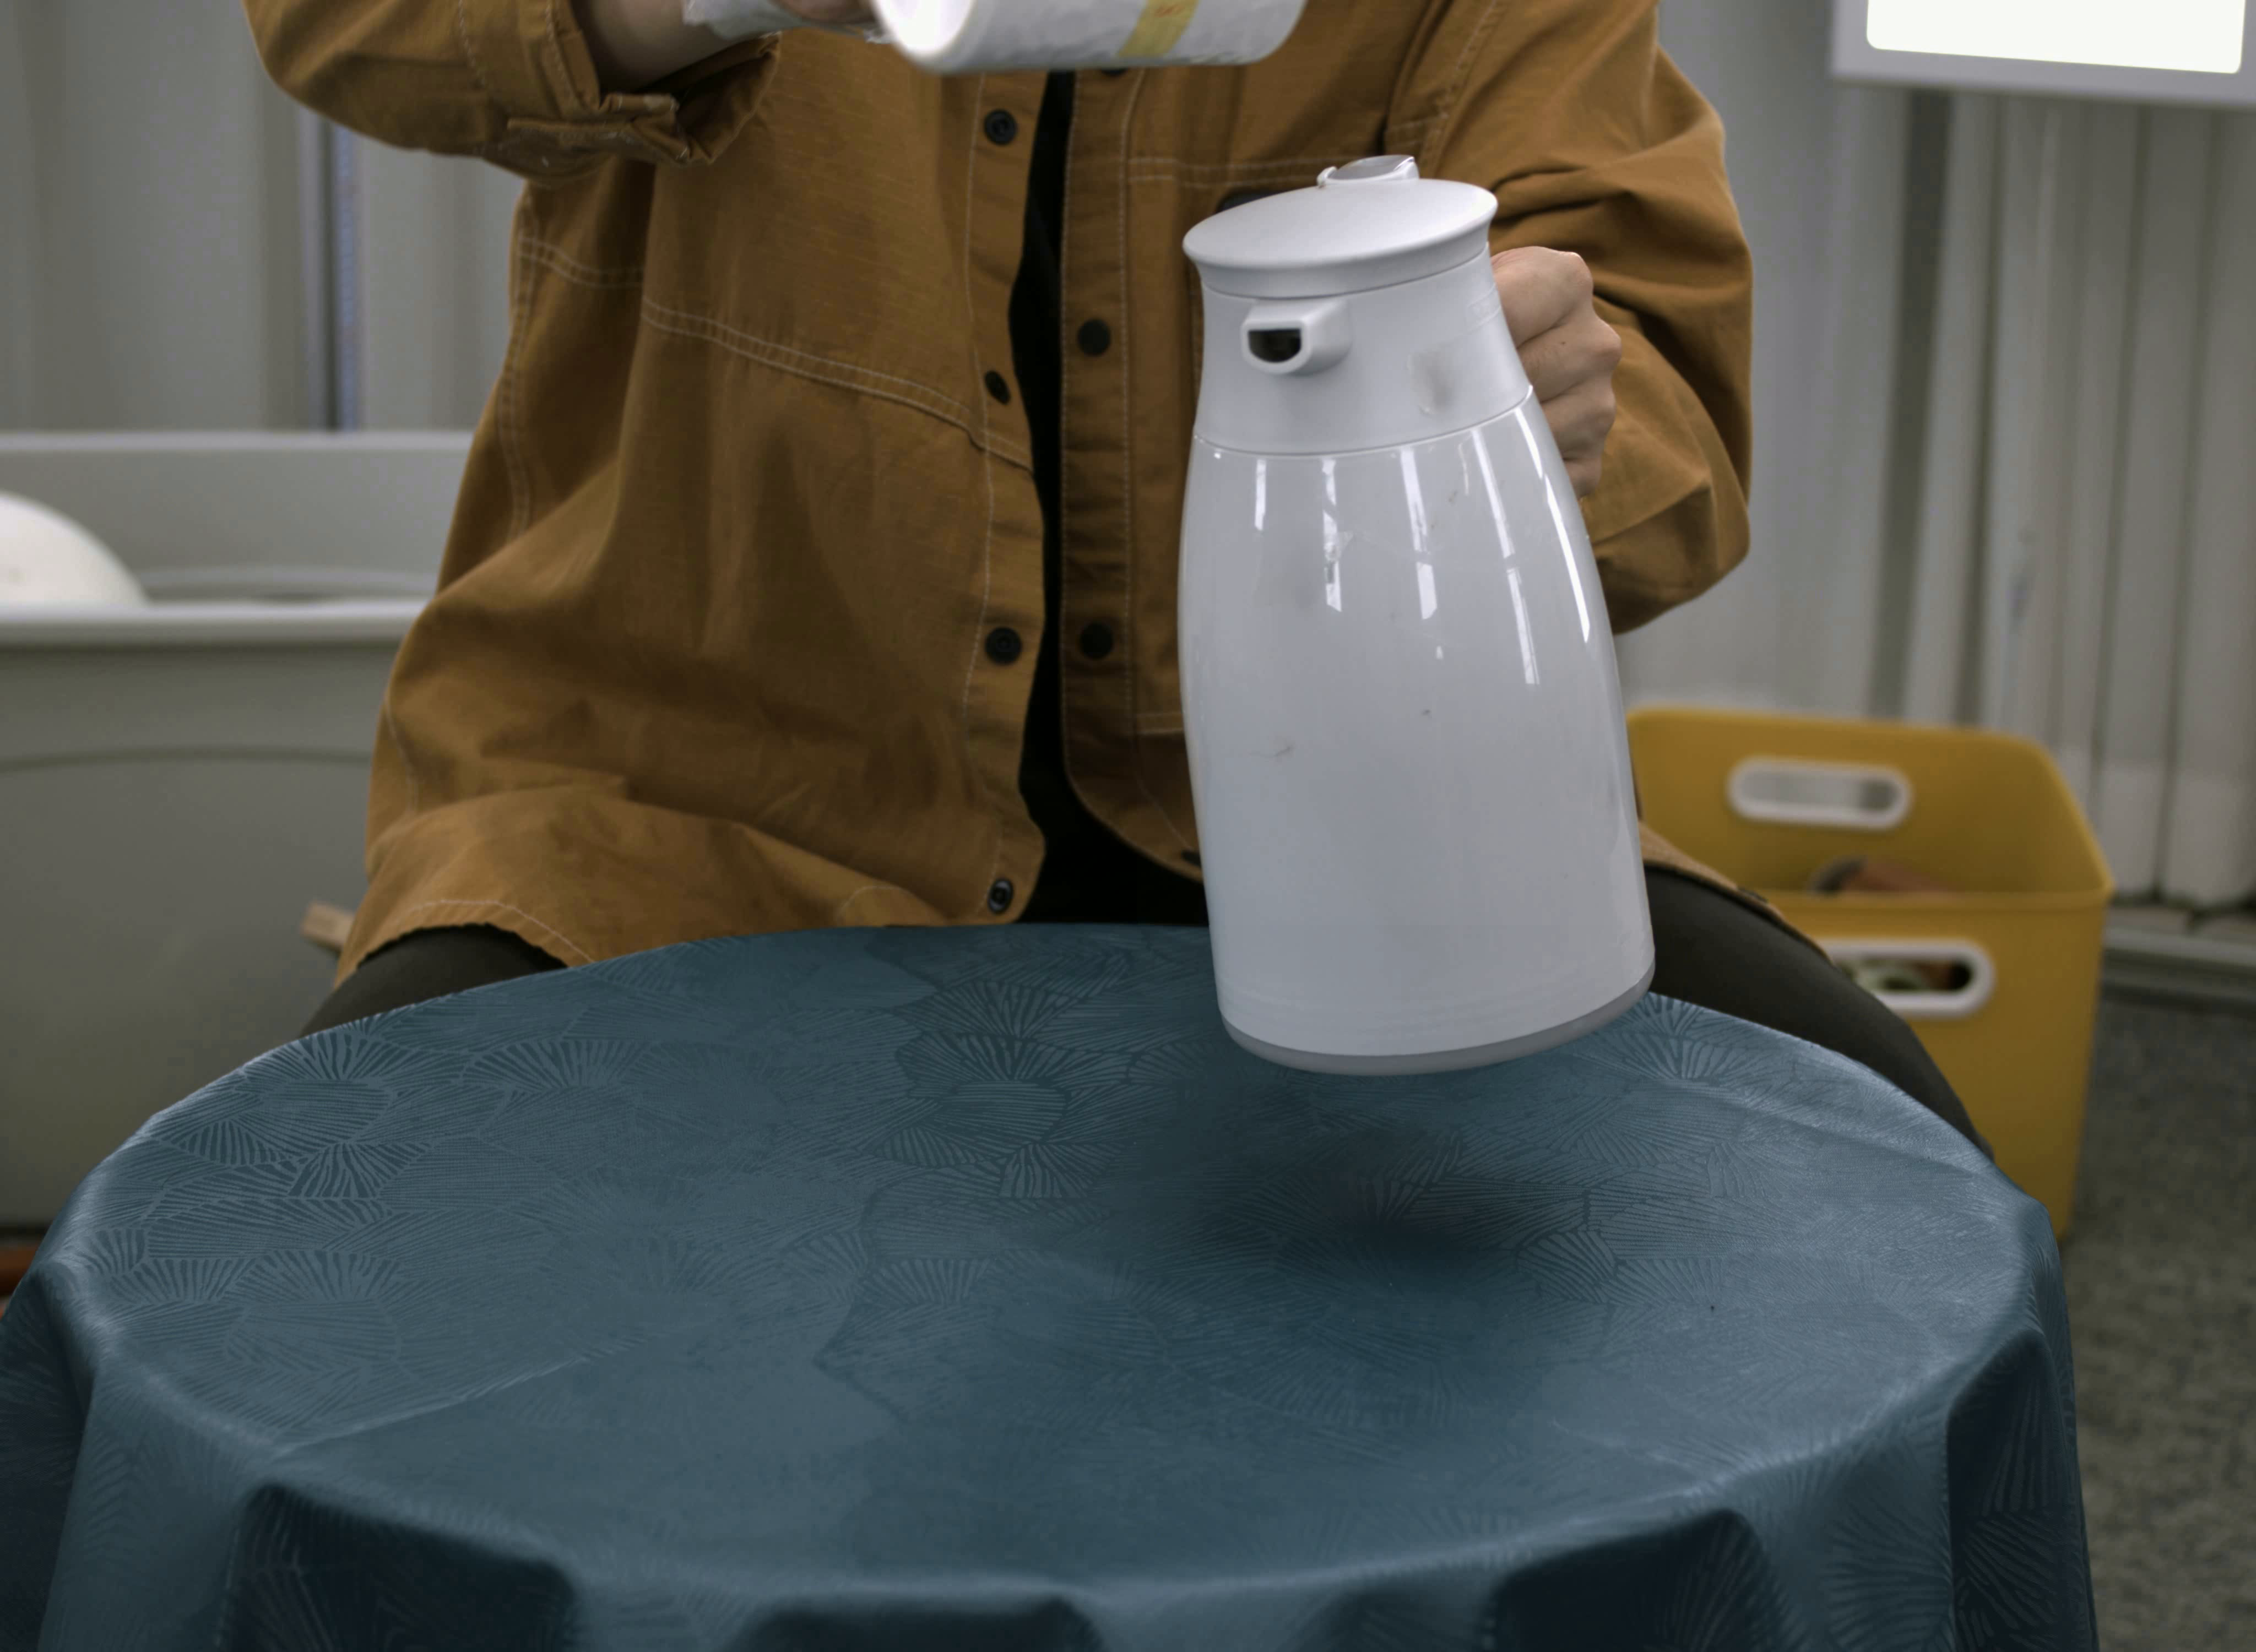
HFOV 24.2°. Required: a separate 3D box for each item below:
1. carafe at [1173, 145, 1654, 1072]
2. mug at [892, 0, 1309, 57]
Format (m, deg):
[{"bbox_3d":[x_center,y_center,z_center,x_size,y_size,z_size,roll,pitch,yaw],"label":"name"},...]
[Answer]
[{"bbox_3d":[0.080,-0.073,1.562,0.131,0.251,0.167,-2,20,21],"label":"carafe"},{"bbox_3d":[-0.017,-0.260,1.452,0.102,0.085,0.116,-4,20,-31],"label":"mug"}]
